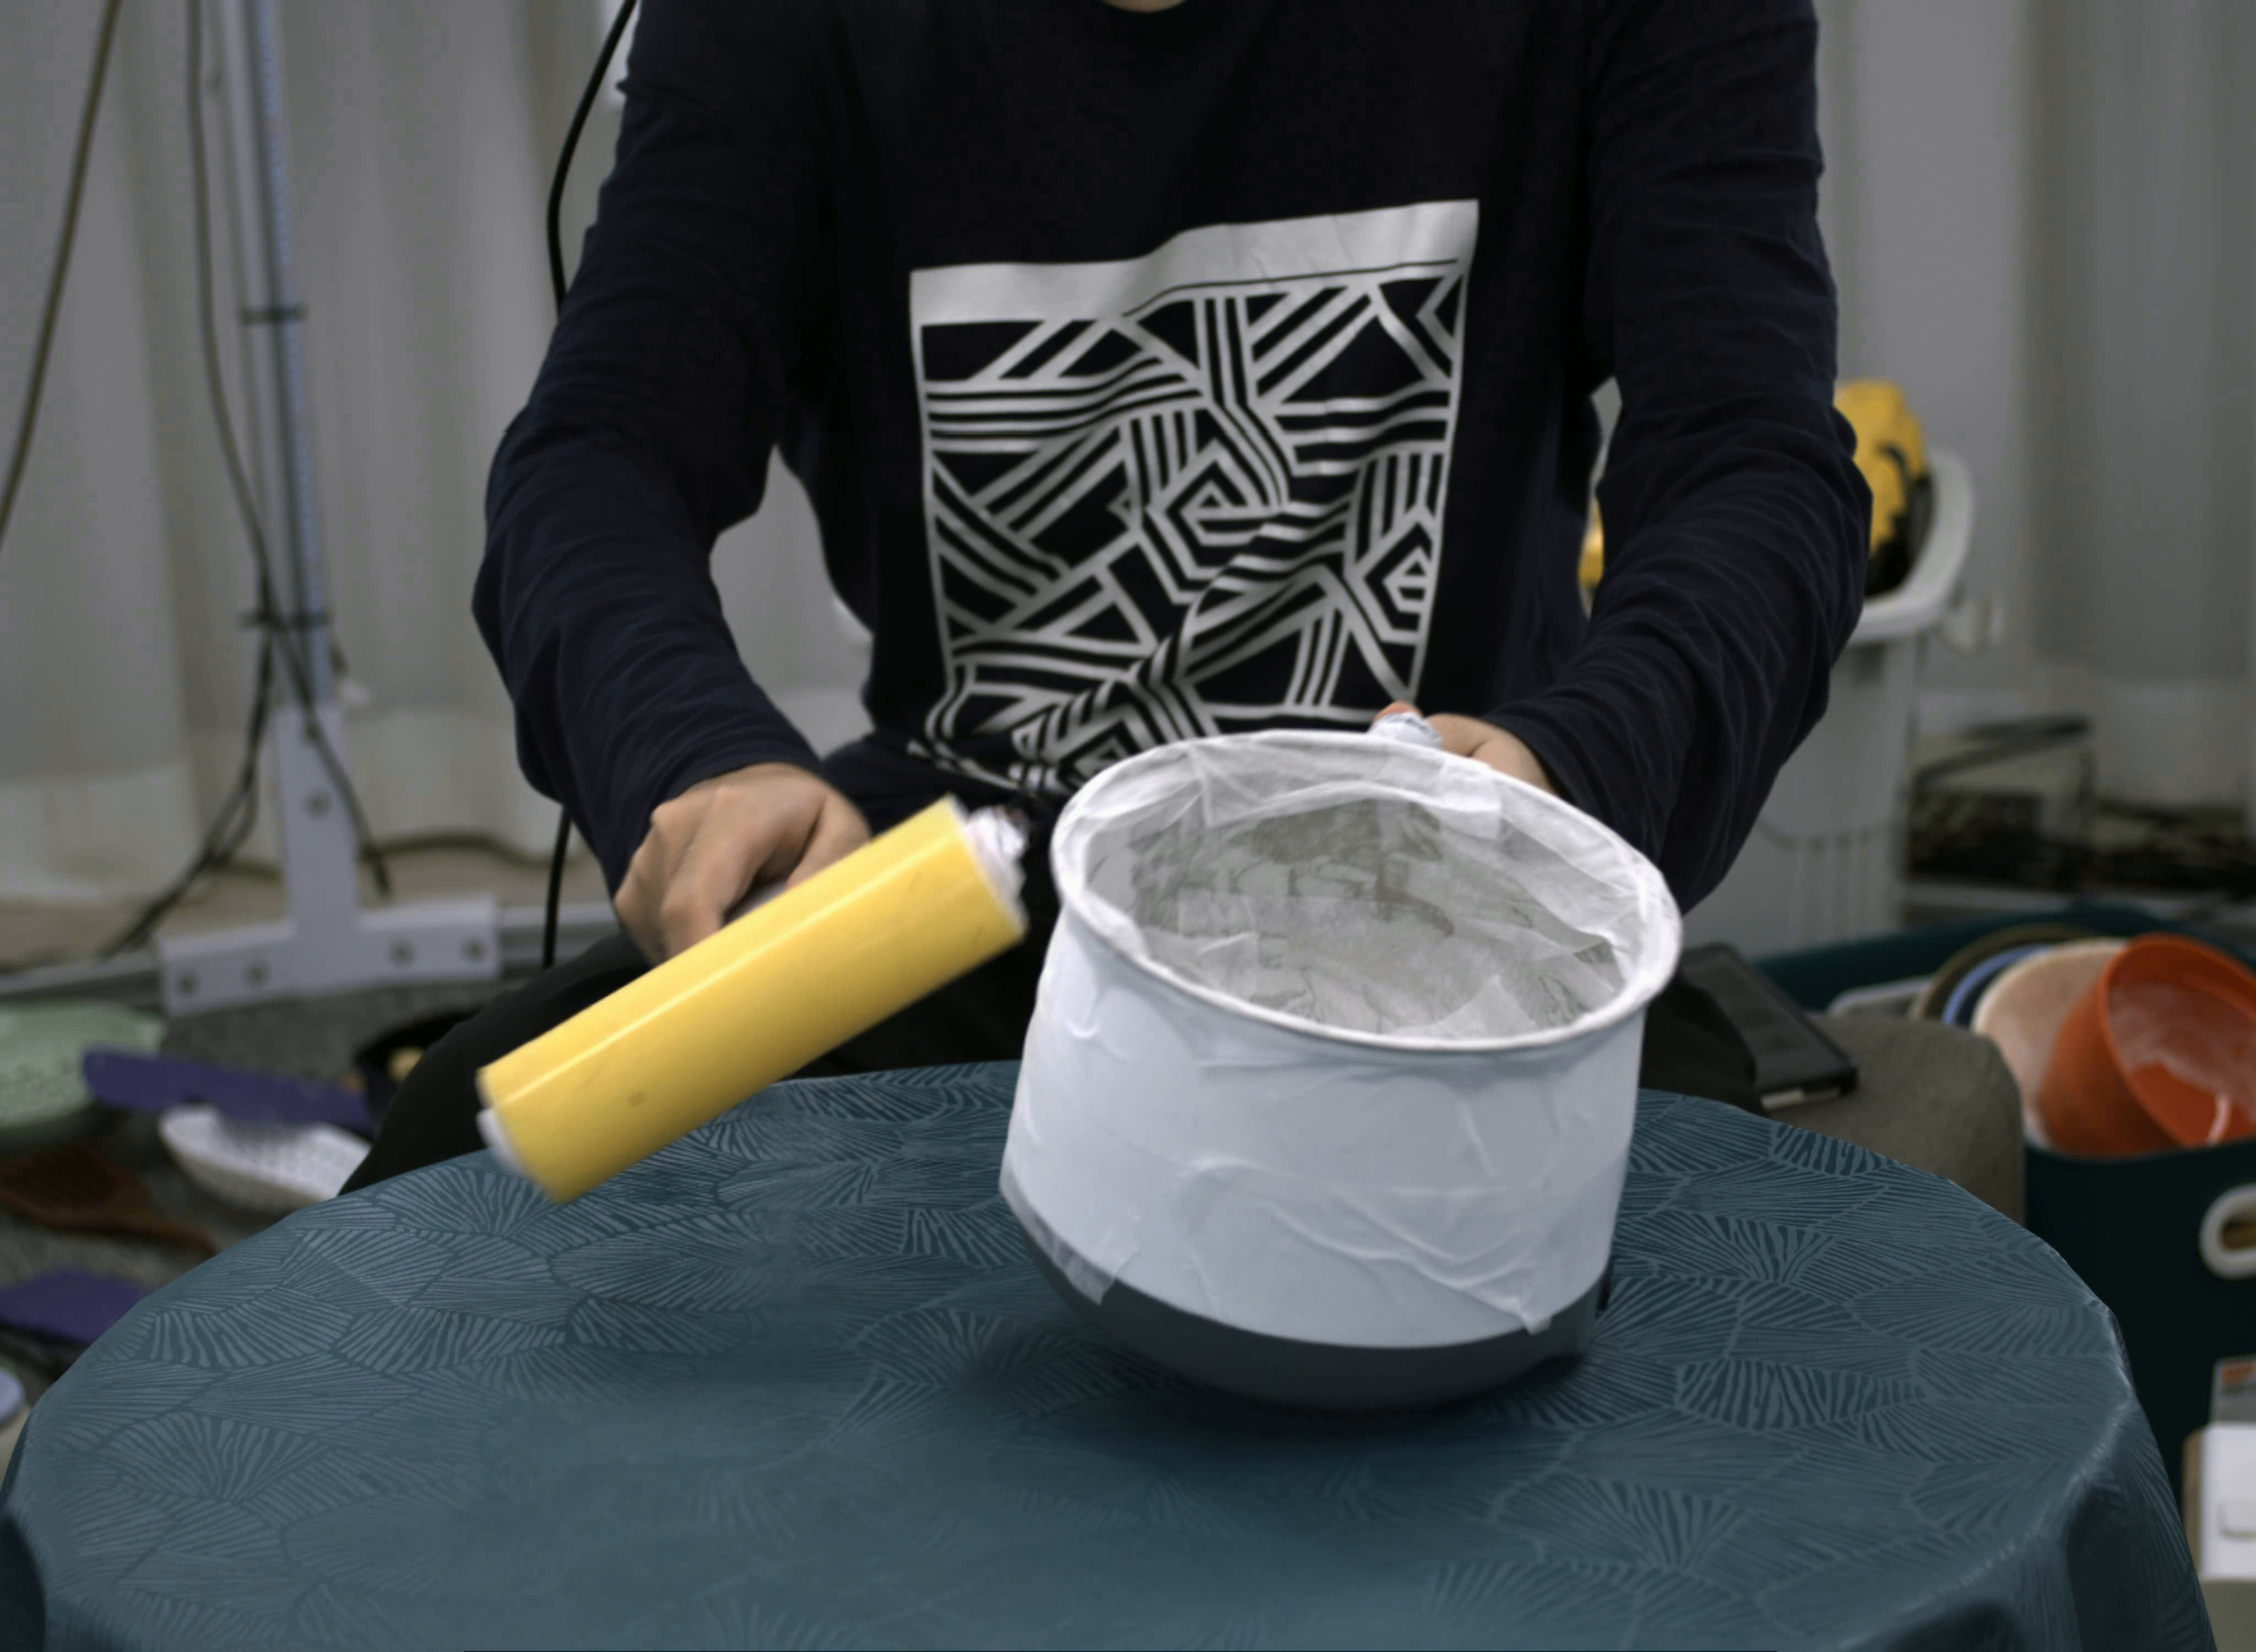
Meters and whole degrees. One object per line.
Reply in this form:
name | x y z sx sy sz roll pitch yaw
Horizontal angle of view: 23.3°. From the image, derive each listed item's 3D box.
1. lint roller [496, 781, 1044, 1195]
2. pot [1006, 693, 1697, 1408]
lint roller | -0.117 0.029 1.680 0.174 0.051 0.194 -32 19 0
pot | 0.062 0.054 1.563 0.178 0.135 0.236 13 30 1
